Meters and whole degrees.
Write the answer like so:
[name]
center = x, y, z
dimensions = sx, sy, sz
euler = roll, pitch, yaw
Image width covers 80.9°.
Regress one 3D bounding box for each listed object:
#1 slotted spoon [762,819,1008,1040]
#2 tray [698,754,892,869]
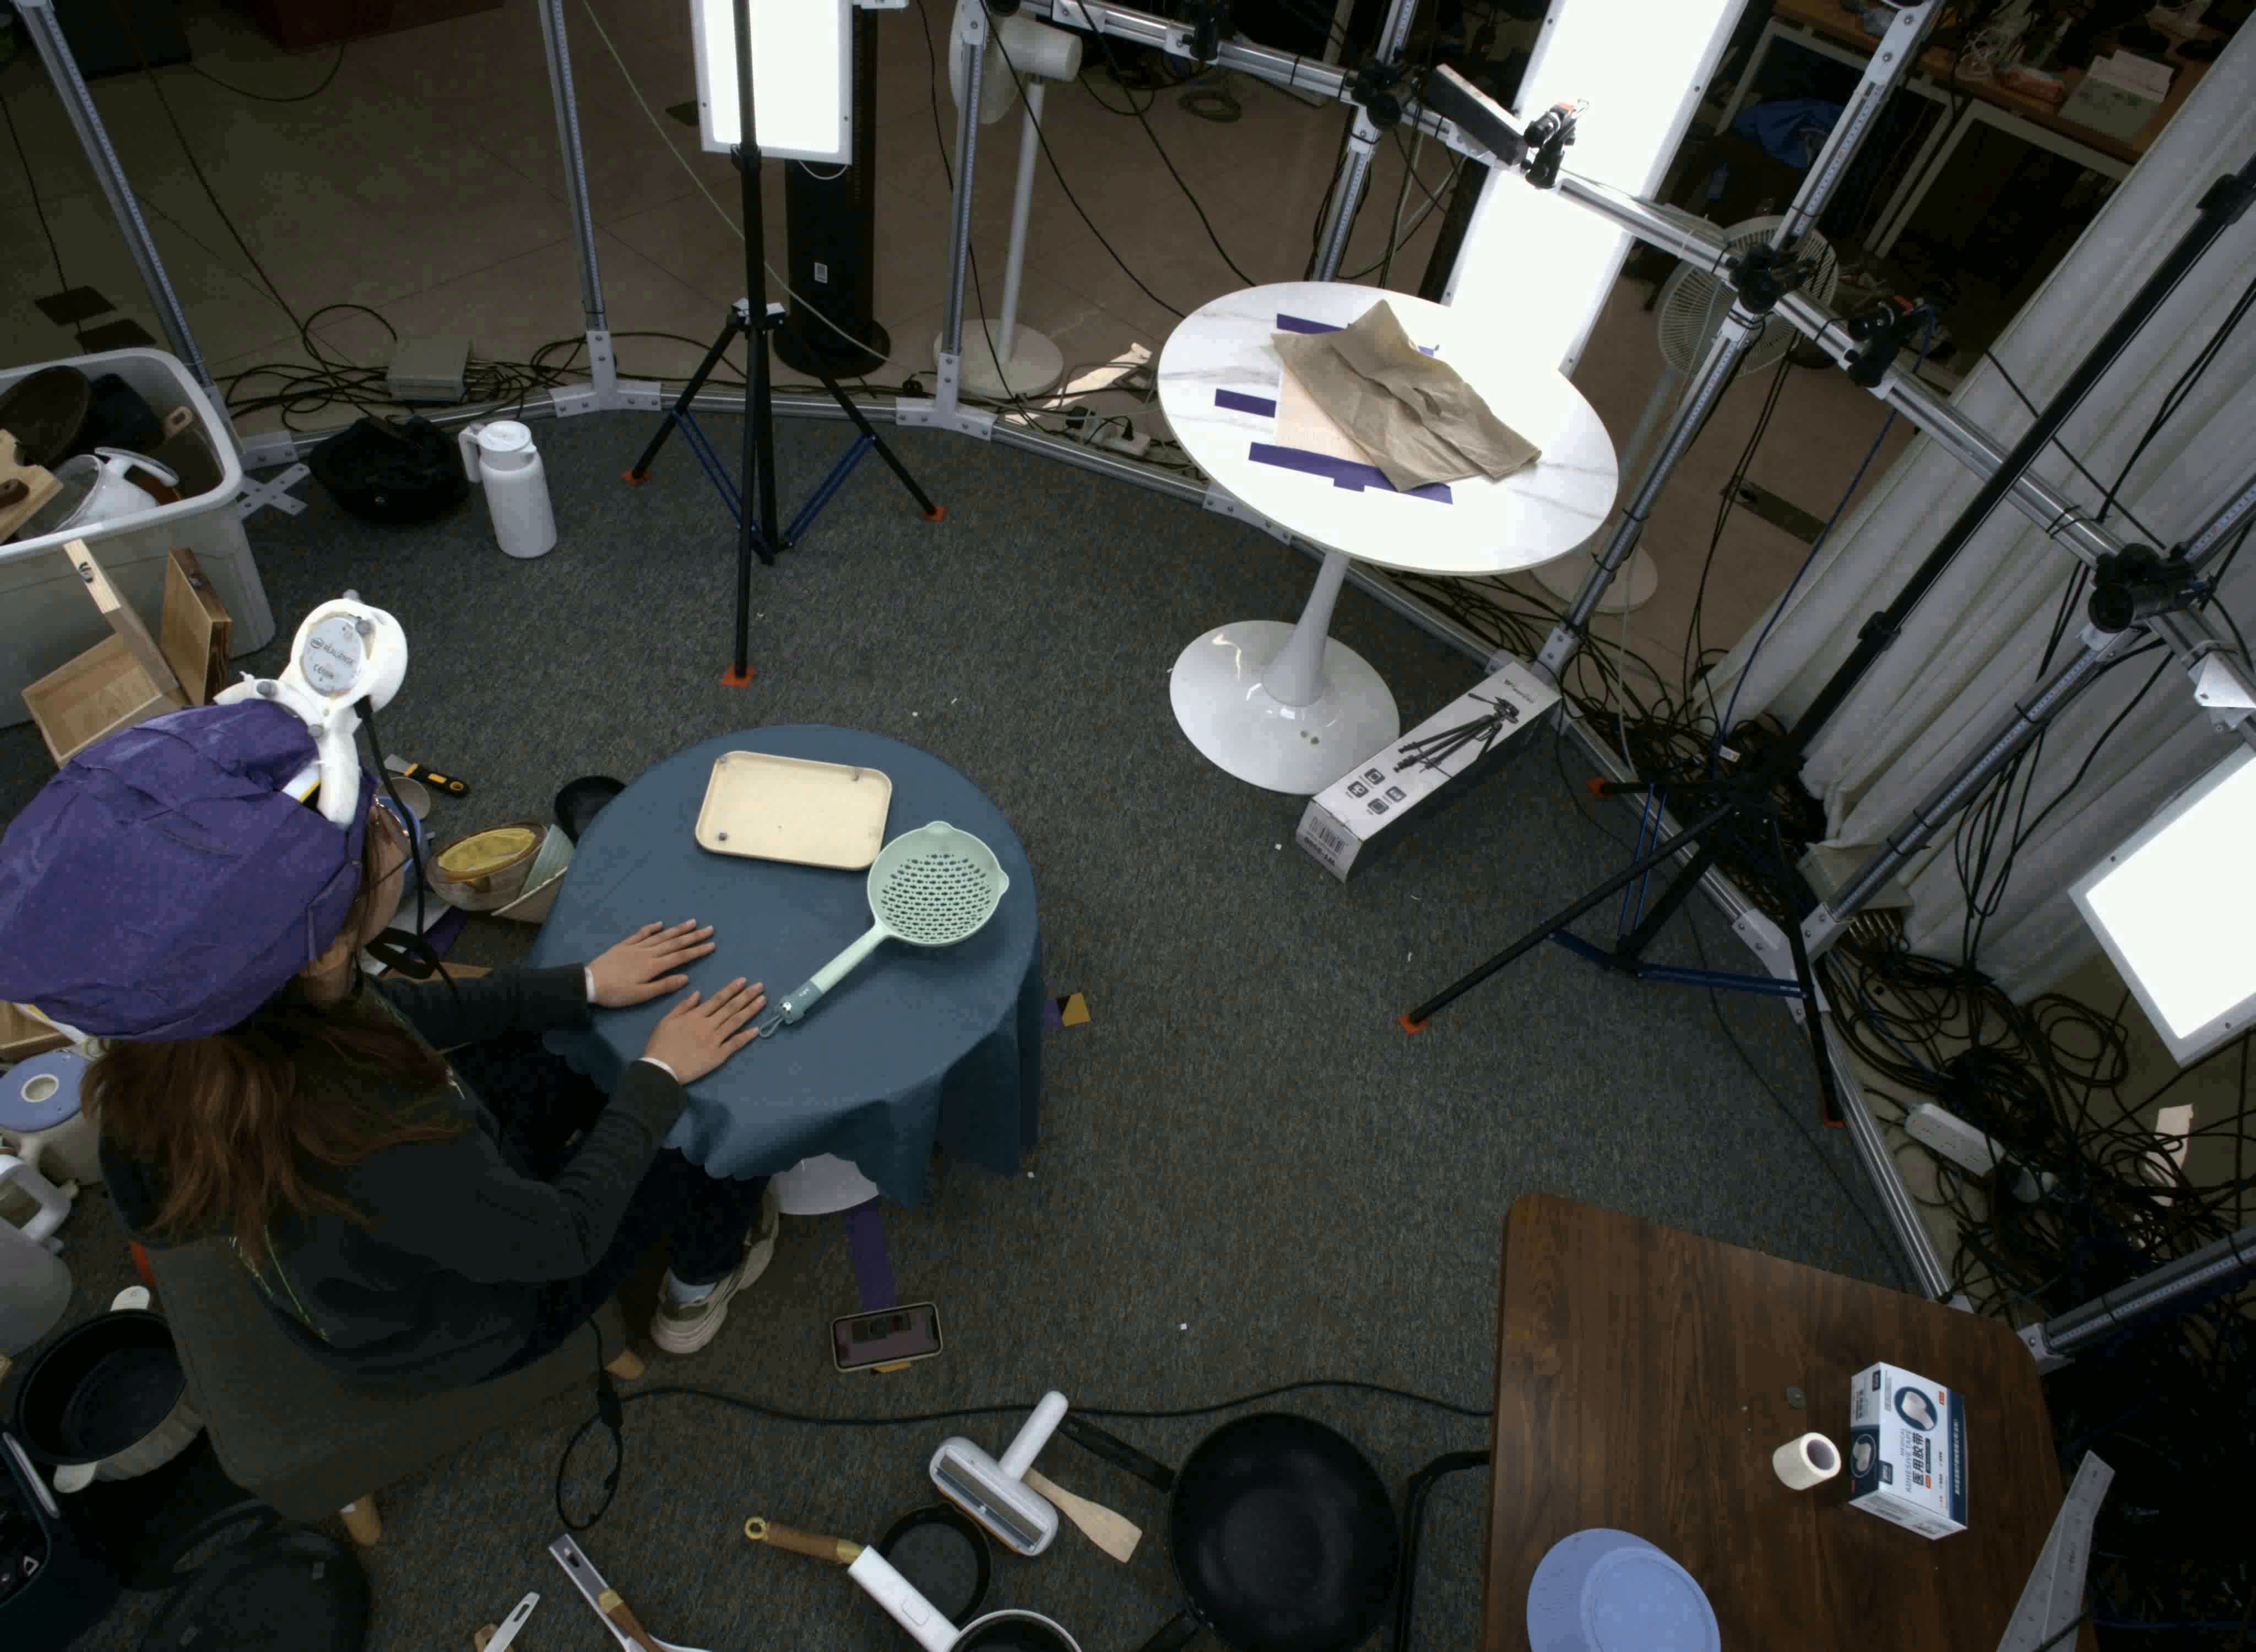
[slotted spoon]
center = -0.311, 0.135, 1.617
dimensions = 0.165, 0.077, 0.359
euler = 40, 55, 17
[tray]
center = -0.441, -0.019, 1.729
dimensions = 0.239, 0.018, 0.168
euler = 7, 52, -8
